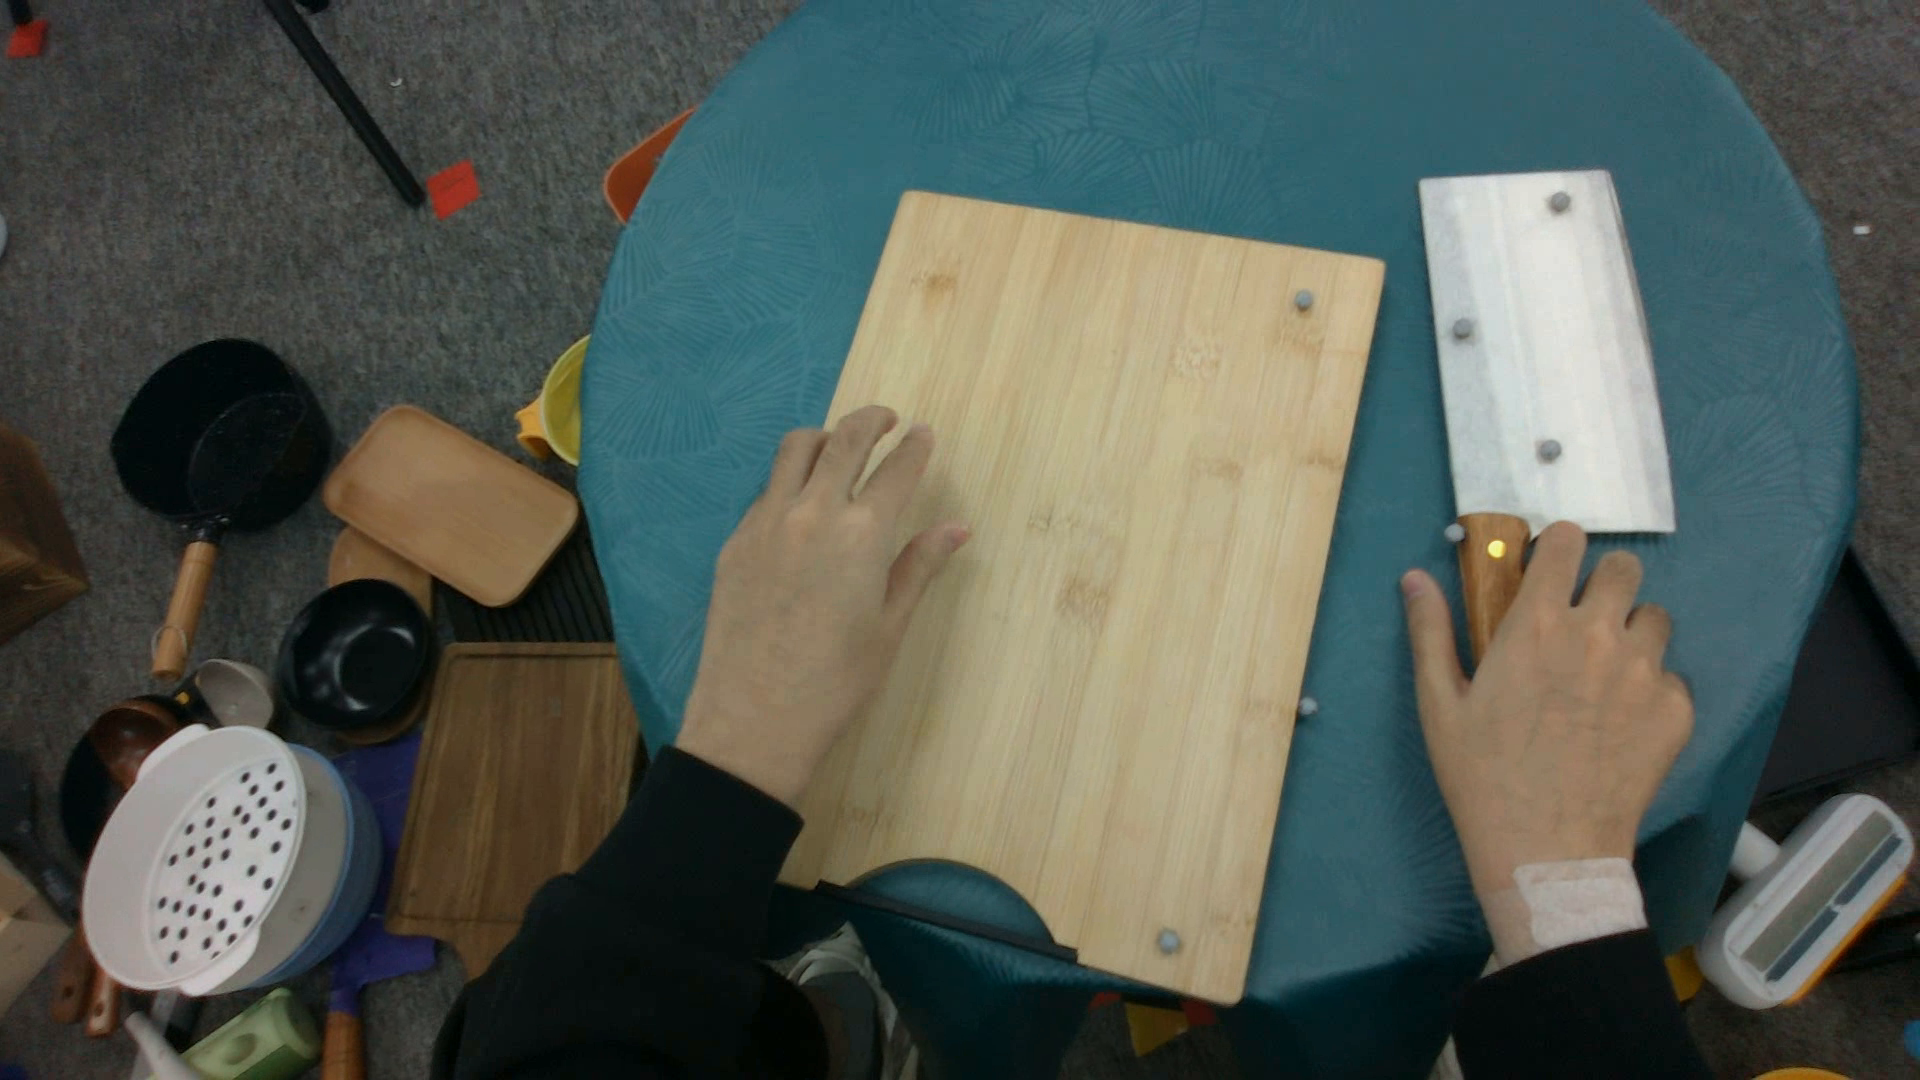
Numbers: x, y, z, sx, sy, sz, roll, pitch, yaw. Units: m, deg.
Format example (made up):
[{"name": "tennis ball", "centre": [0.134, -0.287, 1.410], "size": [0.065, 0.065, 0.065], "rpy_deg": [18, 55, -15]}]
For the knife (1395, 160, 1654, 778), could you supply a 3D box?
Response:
[{"name": "knife", "centre": [0.256, -0.046, 0.614], "size": [0.093, 0.021, 0.307], "rpy_deg": [-1, 66, 5]}]

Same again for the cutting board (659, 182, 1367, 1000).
[{"name": "cutting board", "centre": [0.033, 0.002, 0.623], "size": [0.250, 0.023, 0.350], "rpy_deg": [10, 70, 11]}]
